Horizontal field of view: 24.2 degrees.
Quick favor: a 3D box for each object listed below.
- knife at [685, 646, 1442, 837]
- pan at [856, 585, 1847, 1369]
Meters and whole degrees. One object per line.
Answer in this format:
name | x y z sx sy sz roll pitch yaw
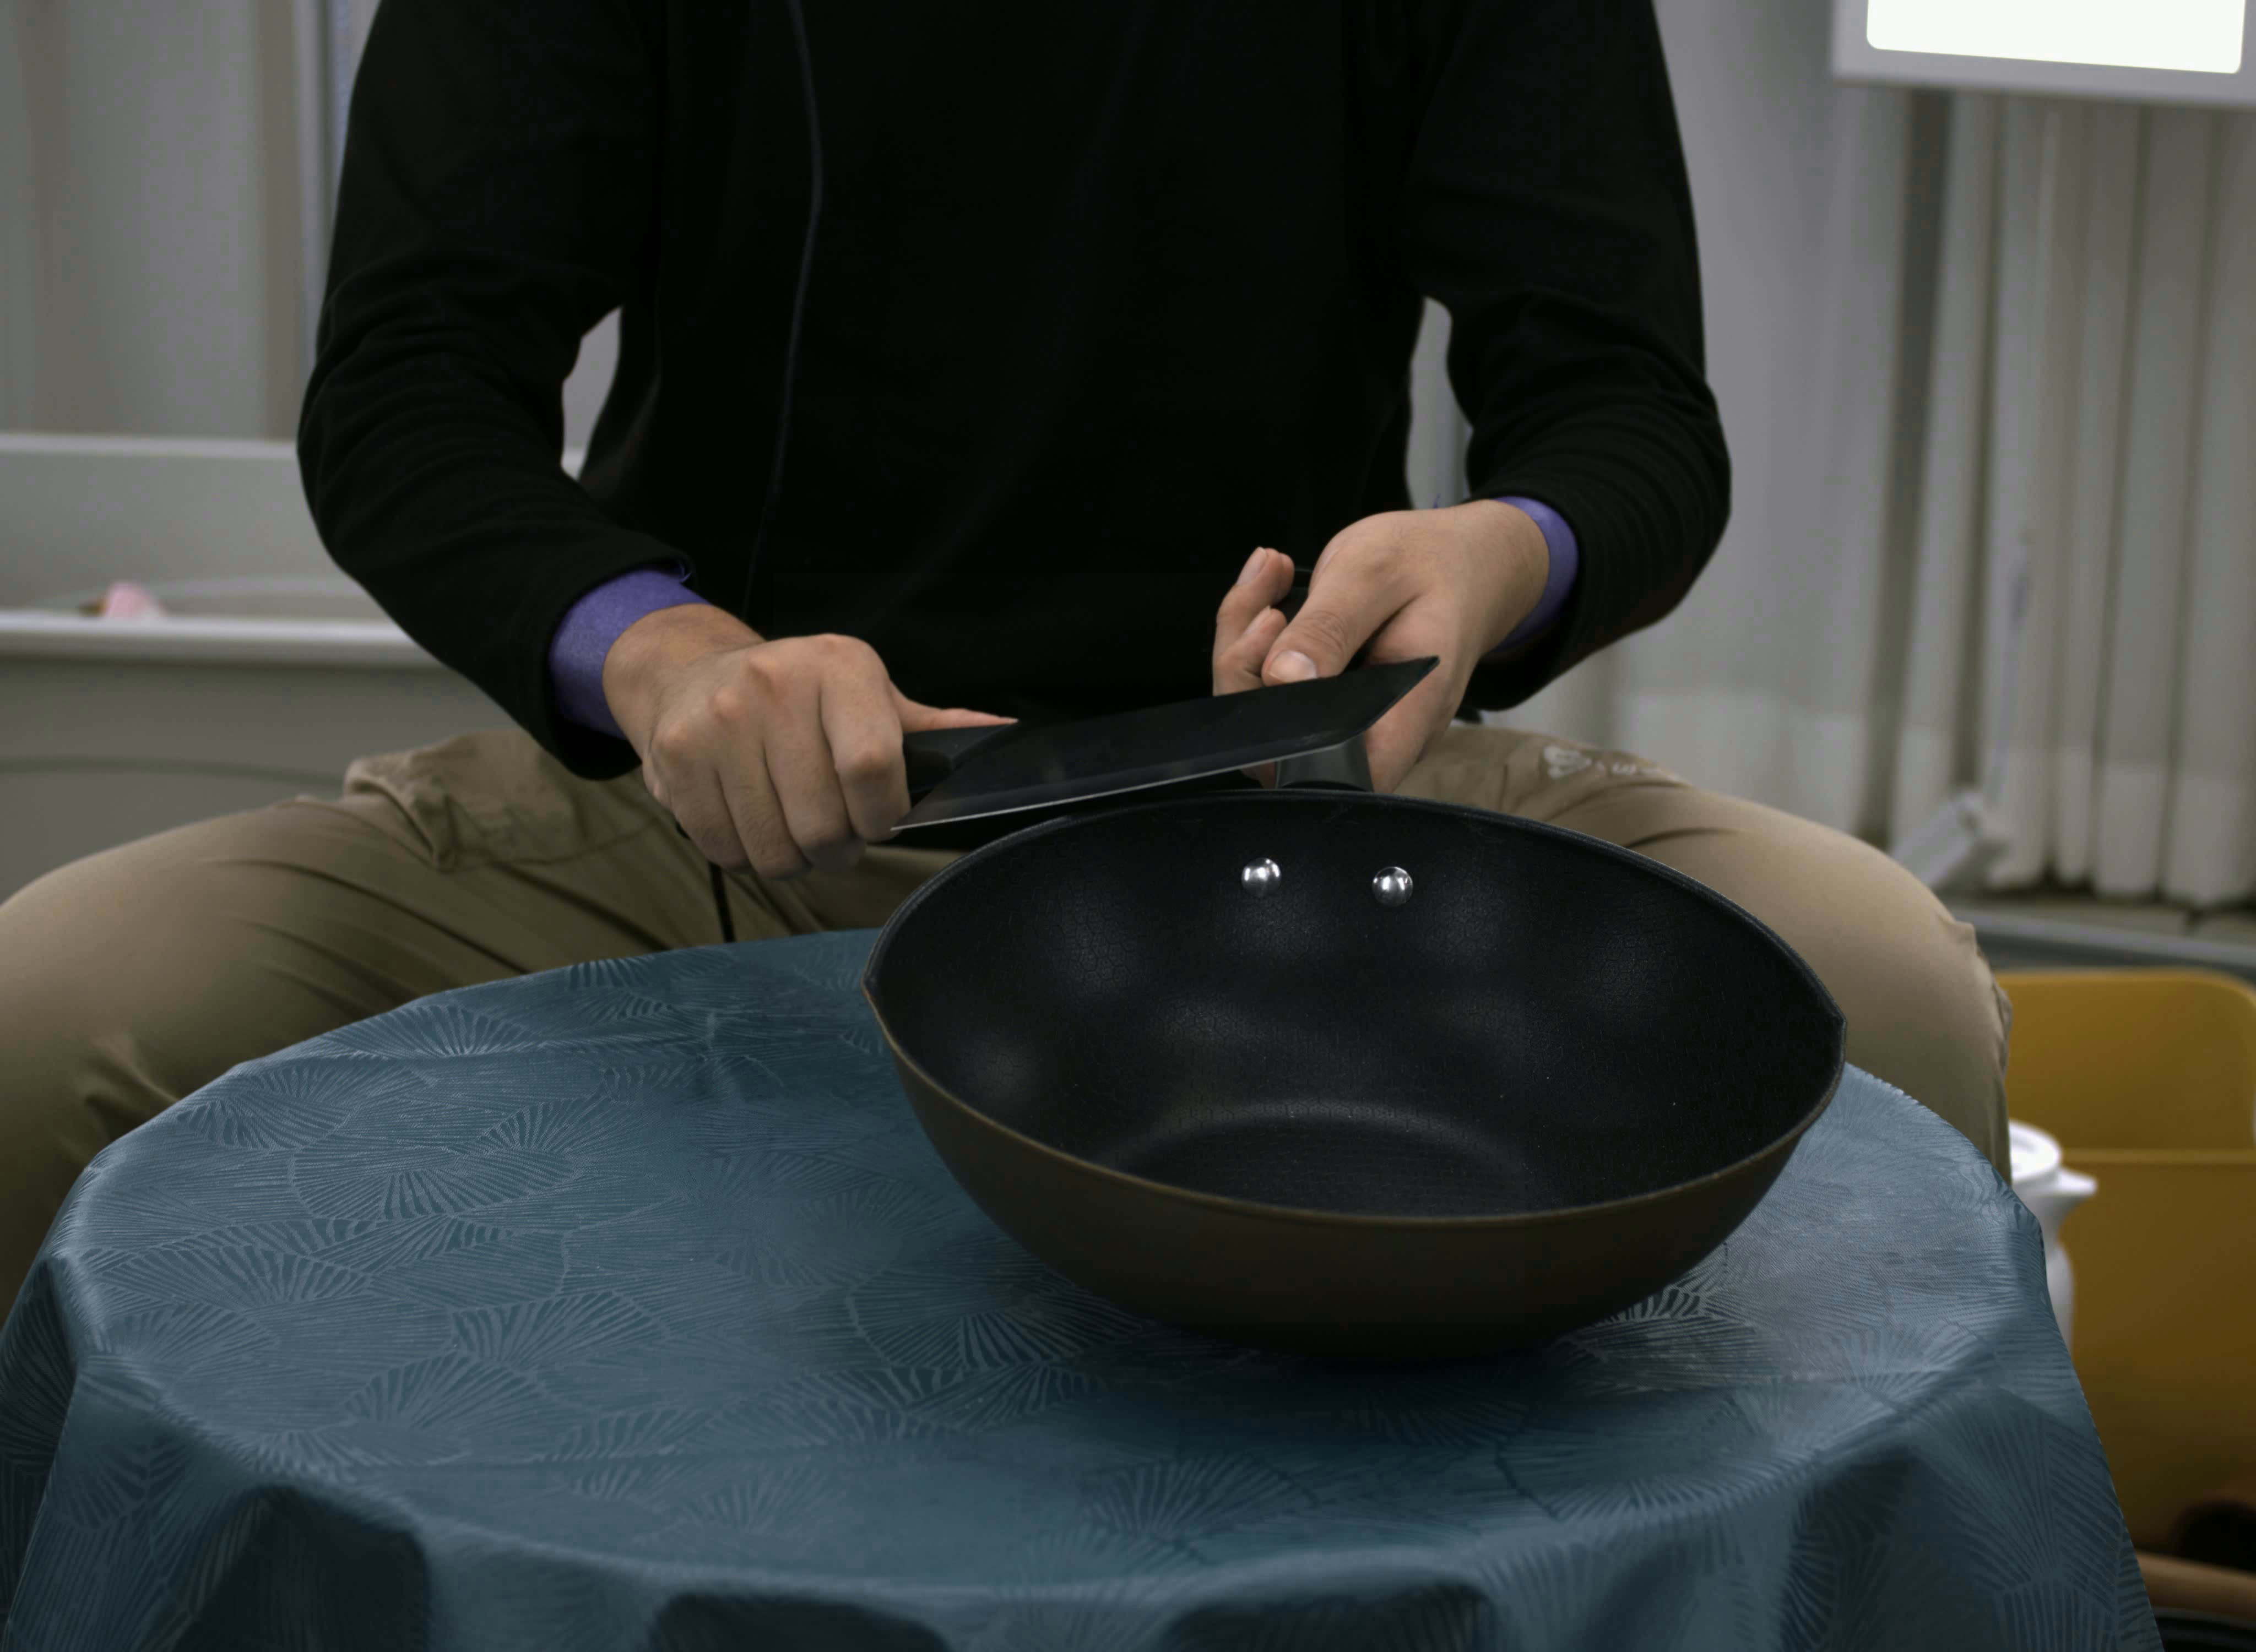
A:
knife | -0.031 -0.022 1.671 0.299 0.021 0.081 -8 22 42
pan | 0.061 0.045 1.618 0.287 0.088 0.459 3 25 -3
